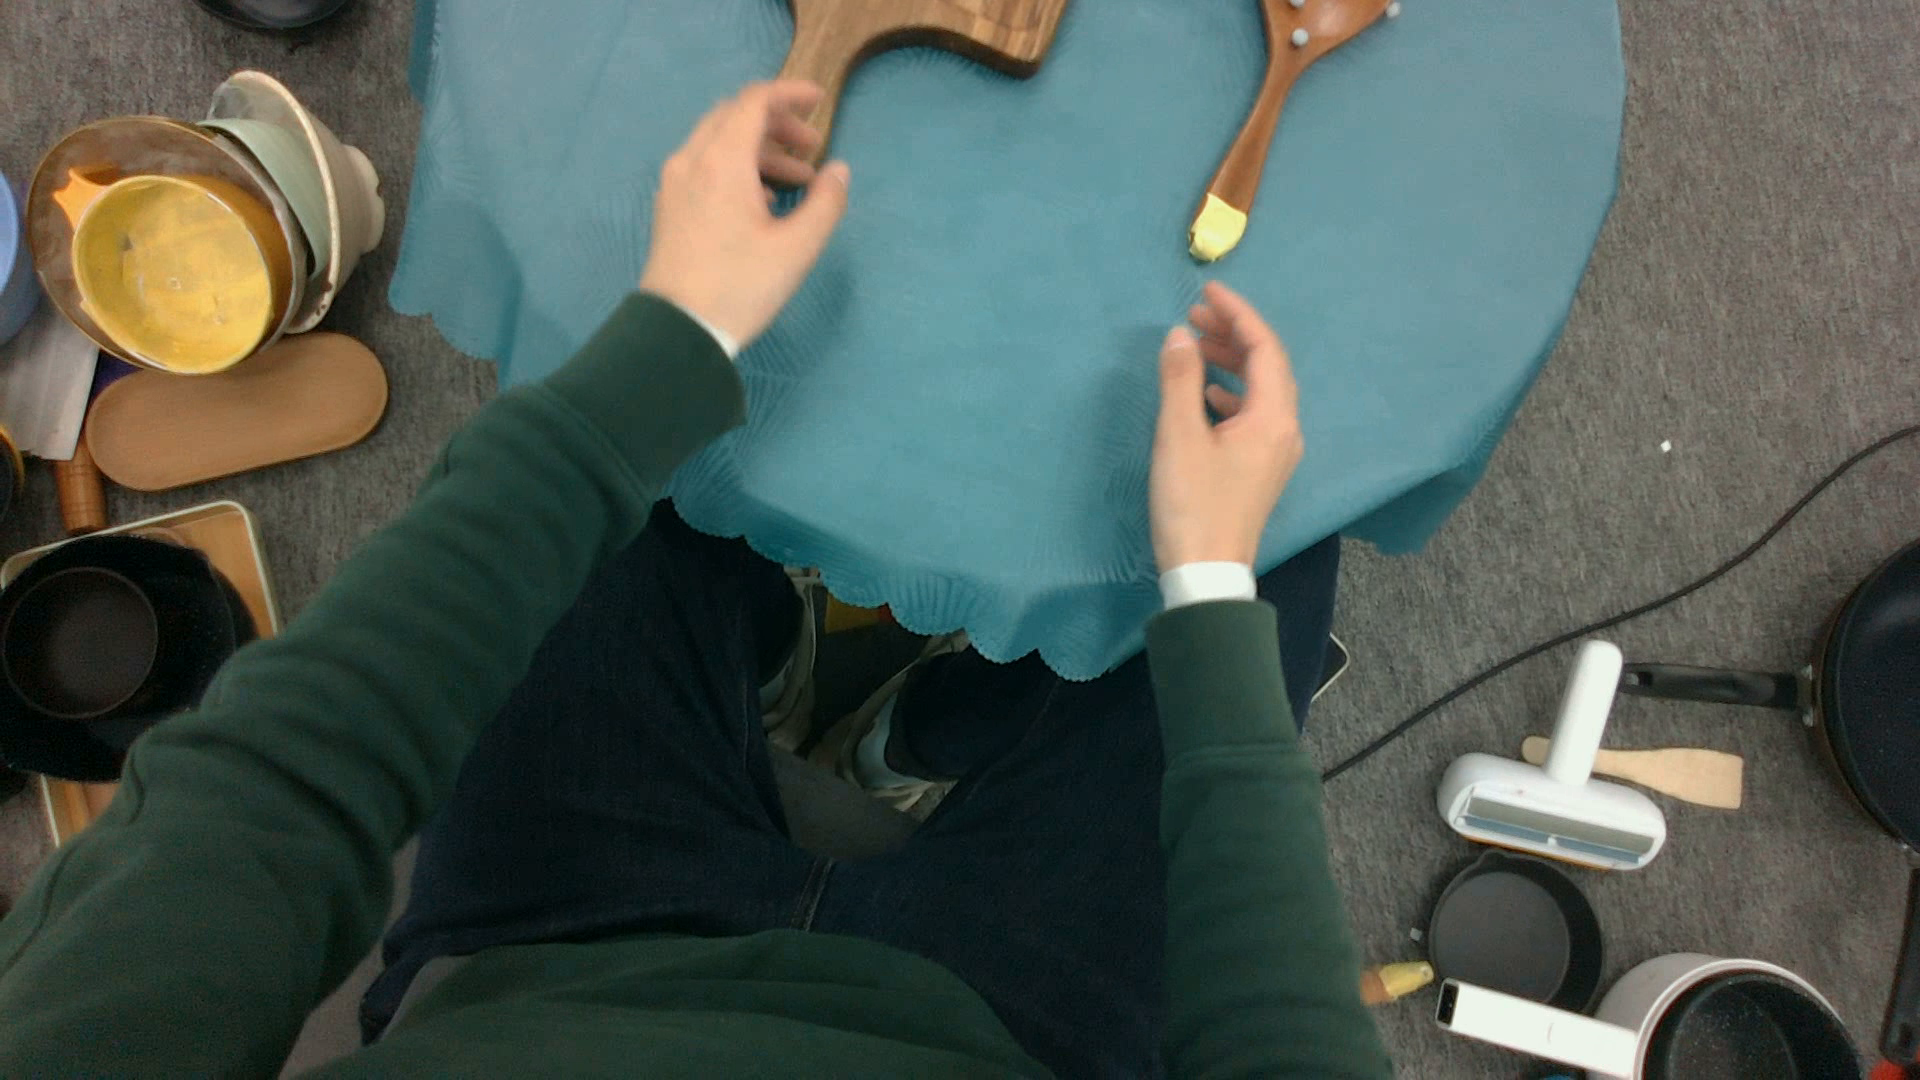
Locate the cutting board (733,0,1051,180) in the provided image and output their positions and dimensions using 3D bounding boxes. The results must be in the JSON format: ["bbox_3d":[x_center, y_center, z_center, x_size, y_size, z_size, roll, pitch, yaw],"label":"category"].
[{"bbox_3d":[-0.035,-0.337,0.678,0.201,0.023,0.353,22,79,-5],"label":"cutting board"}]

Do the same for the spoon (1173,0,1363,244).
[{"bbox_3d":[0.152,-0.243,0.689,0.075,0.017,0.216,24,78,-5],"label":"spoon"}]
